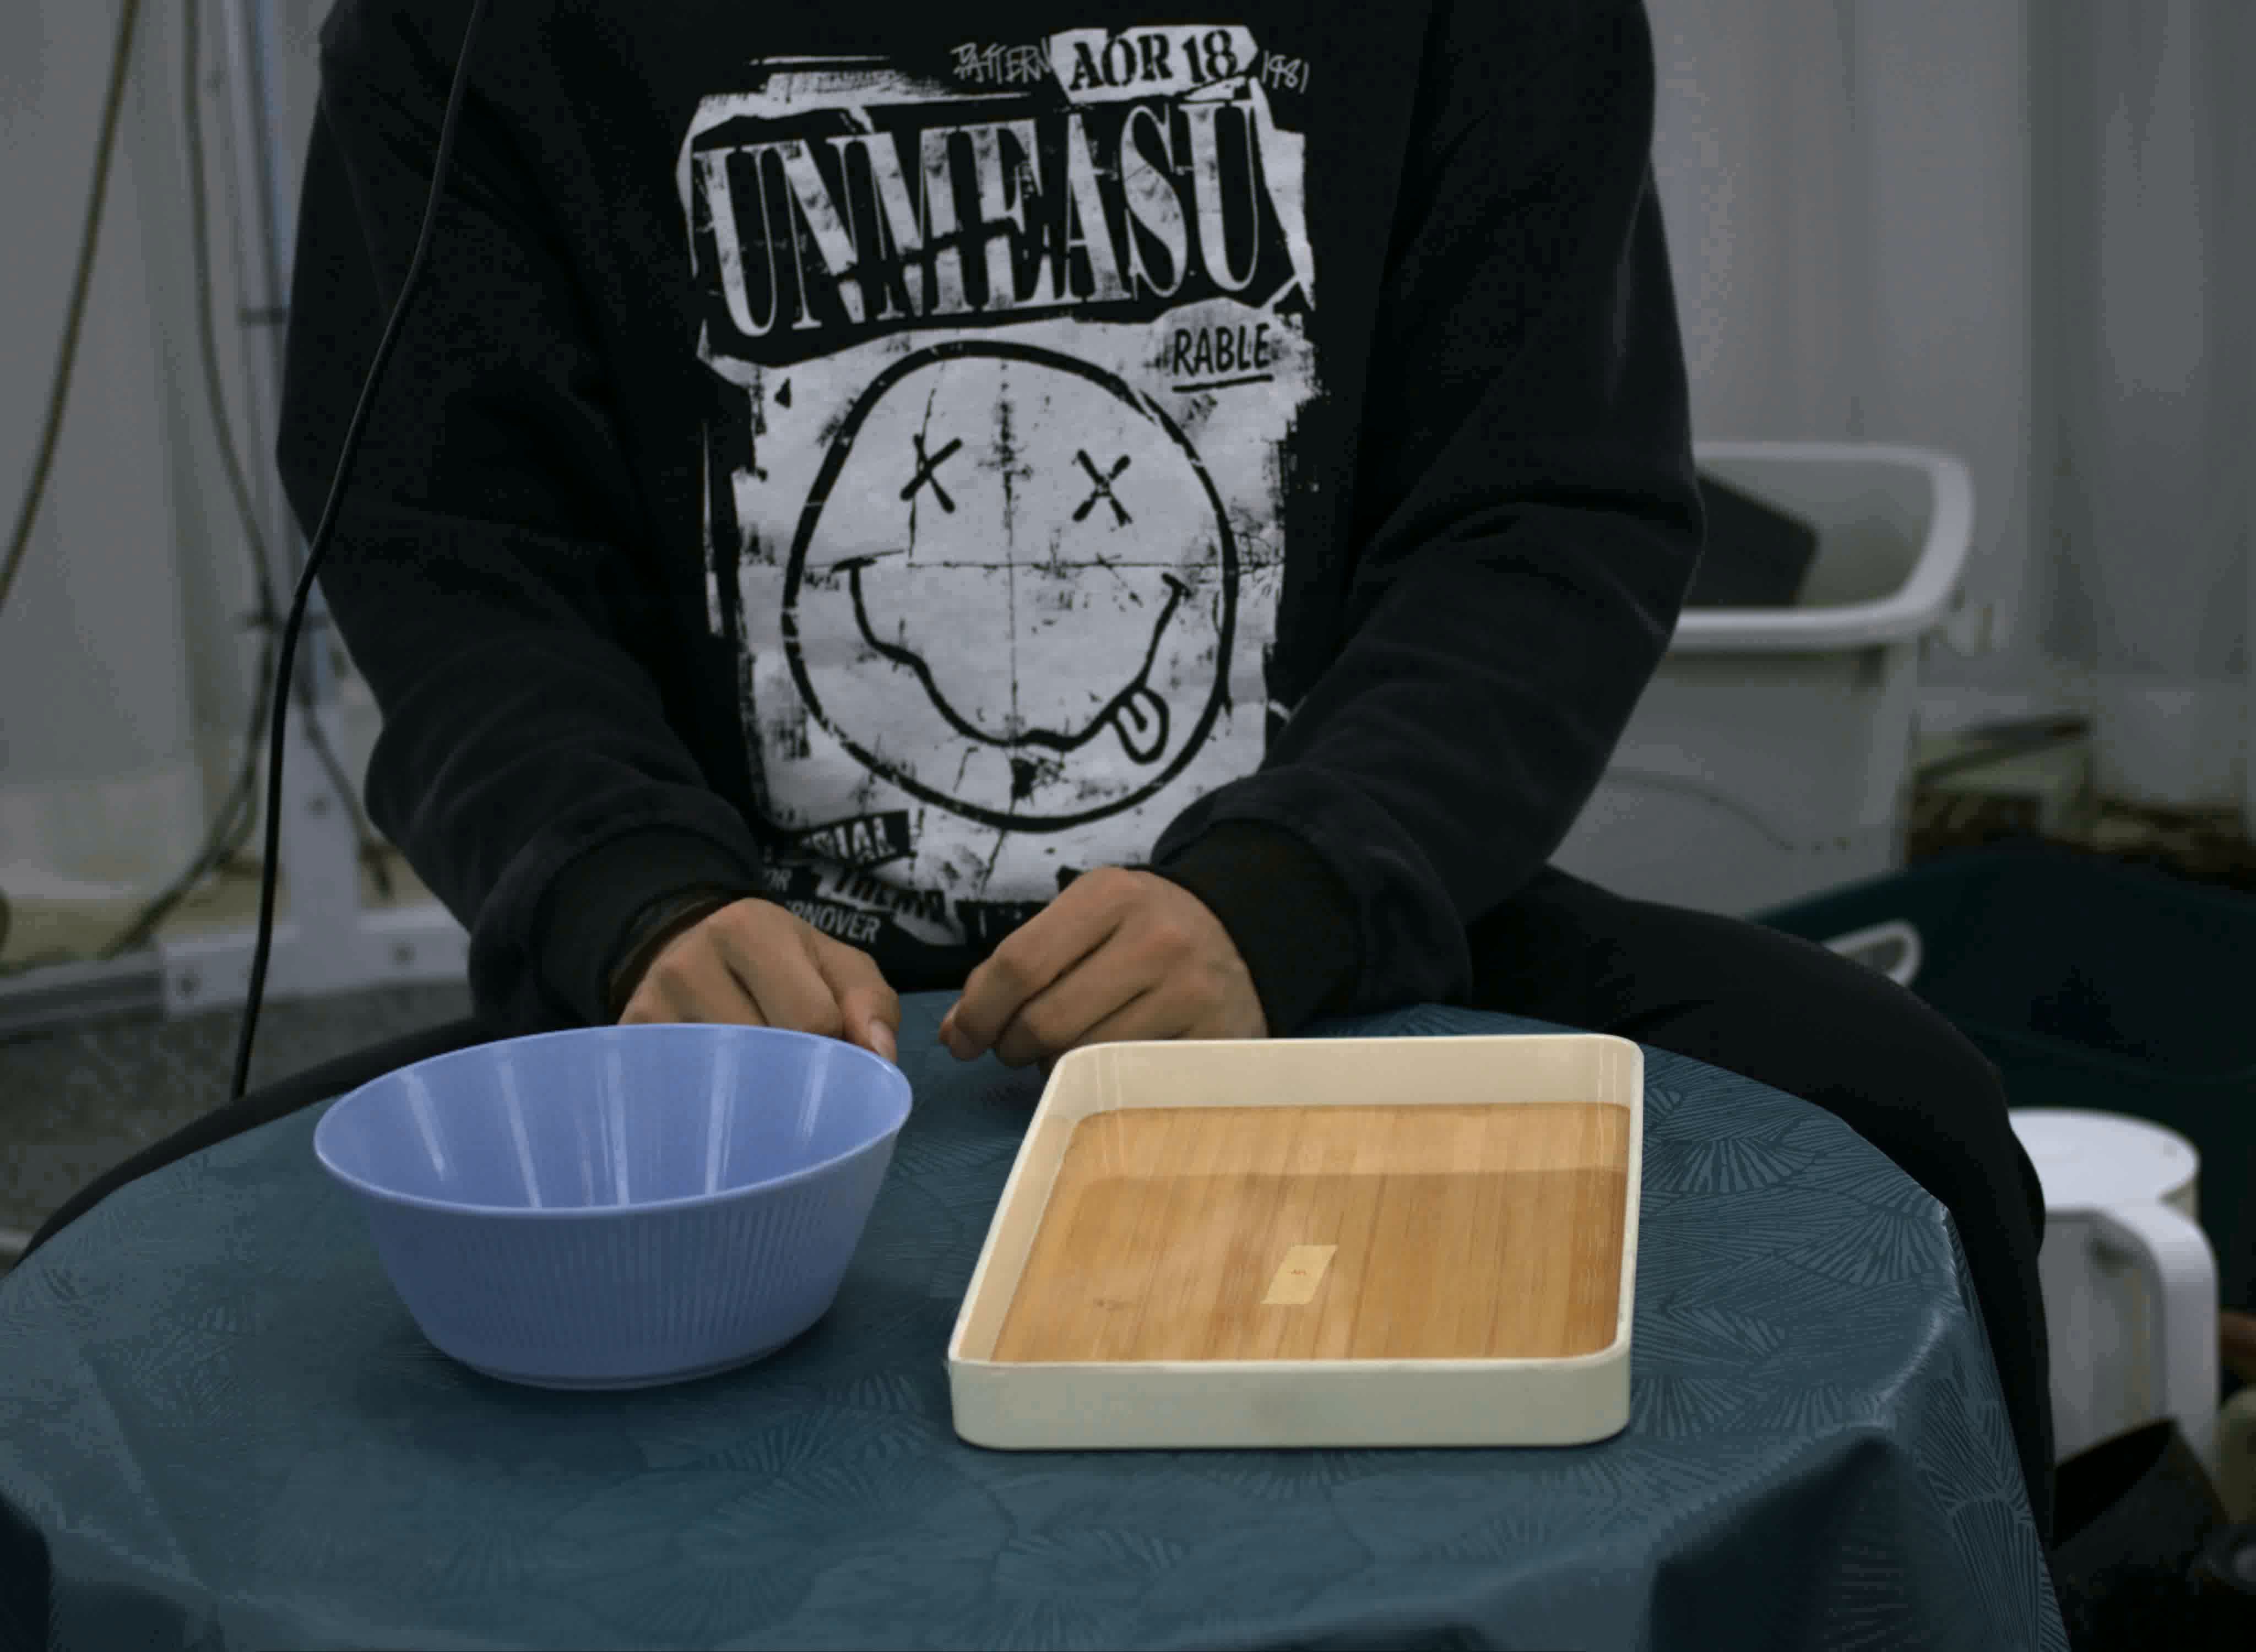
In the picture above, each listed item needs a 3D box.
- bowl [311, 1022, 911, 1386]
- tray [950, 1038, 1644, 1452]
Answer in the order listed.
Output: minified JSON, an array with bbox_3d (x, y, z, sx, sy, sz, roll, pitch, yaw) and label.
[{"bbox_3d":[-0.150,0.114,1.609,0.175,0.070,0.177,-2,15,0],"label":"bowl"},{"bbox_3d":[0.058,0.121,1.631,0.191,0.027,0.302,0,15,6],"label":"tray"}]
